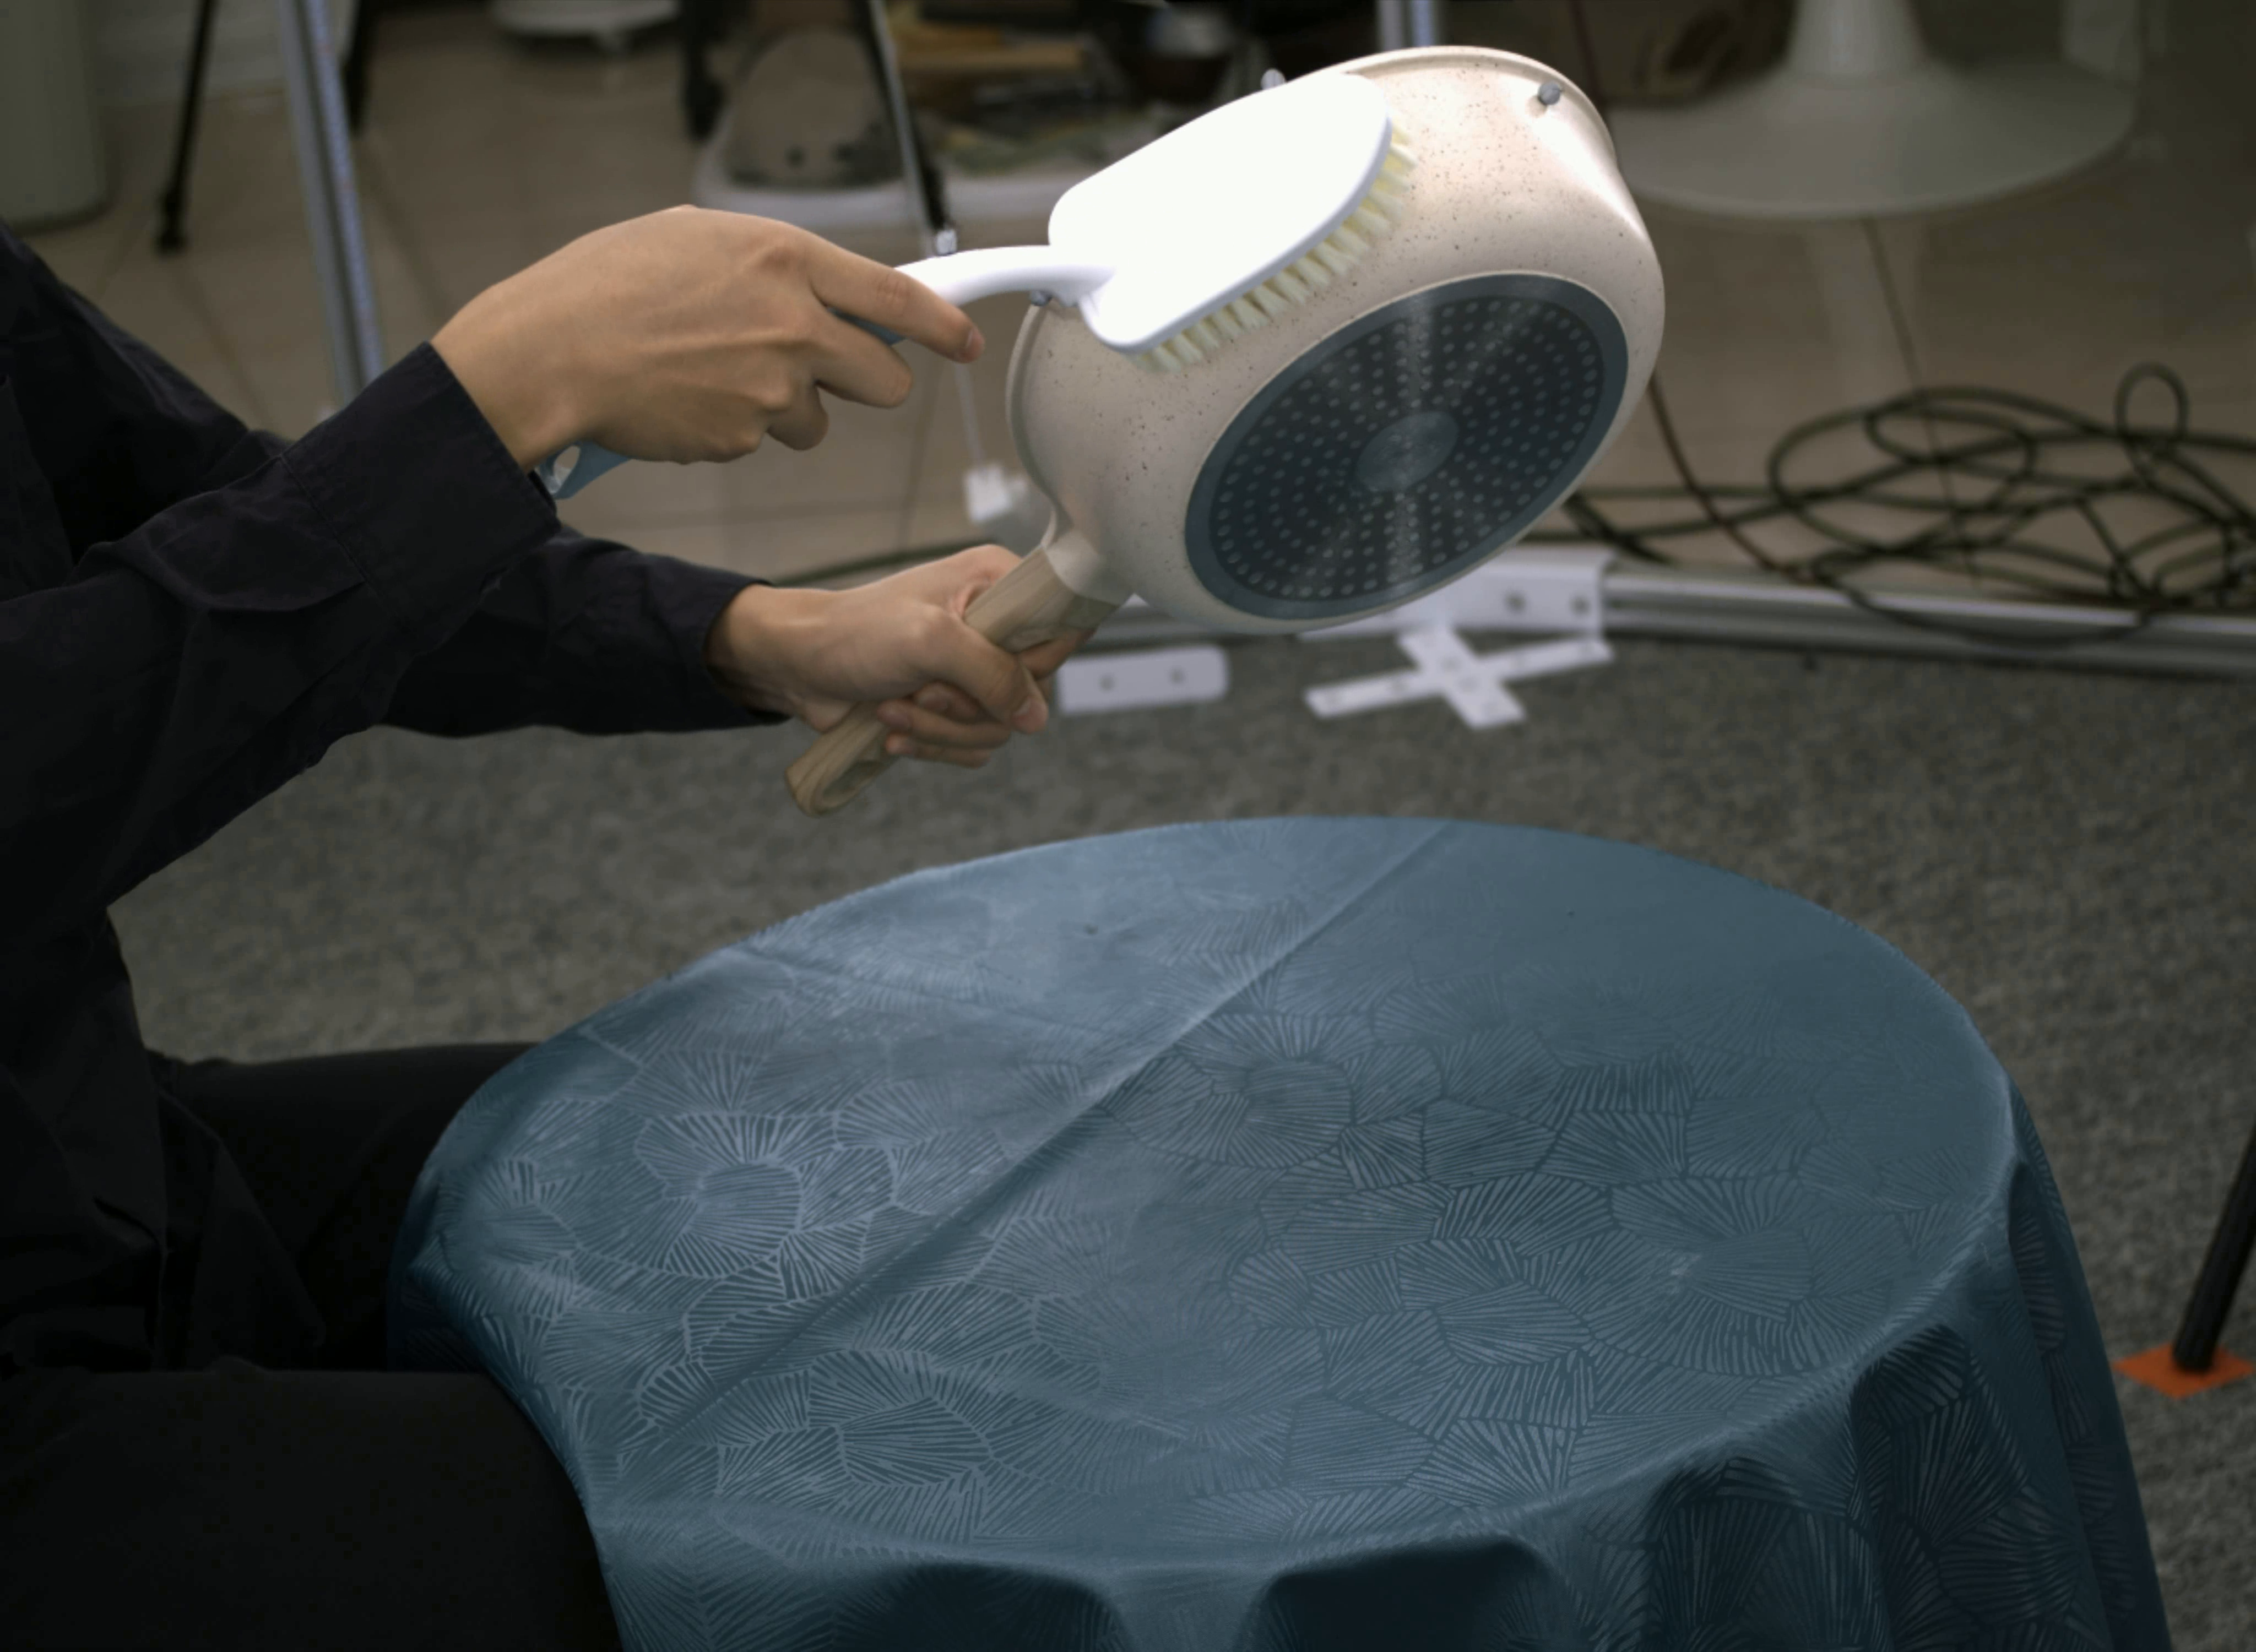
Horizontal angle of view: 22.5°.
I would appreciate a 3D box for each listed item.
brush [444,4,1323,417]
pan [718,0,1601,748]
[{"bbox_3d":[-0.085,-0.207,1.981,0.325,0.086,0.082,-23,34,0],"label":"brush"},{"bbox_3d":[0.002,-0.145,2.151,0.264,0.439,0.100,10,43,-49],"label":"pan"}]
